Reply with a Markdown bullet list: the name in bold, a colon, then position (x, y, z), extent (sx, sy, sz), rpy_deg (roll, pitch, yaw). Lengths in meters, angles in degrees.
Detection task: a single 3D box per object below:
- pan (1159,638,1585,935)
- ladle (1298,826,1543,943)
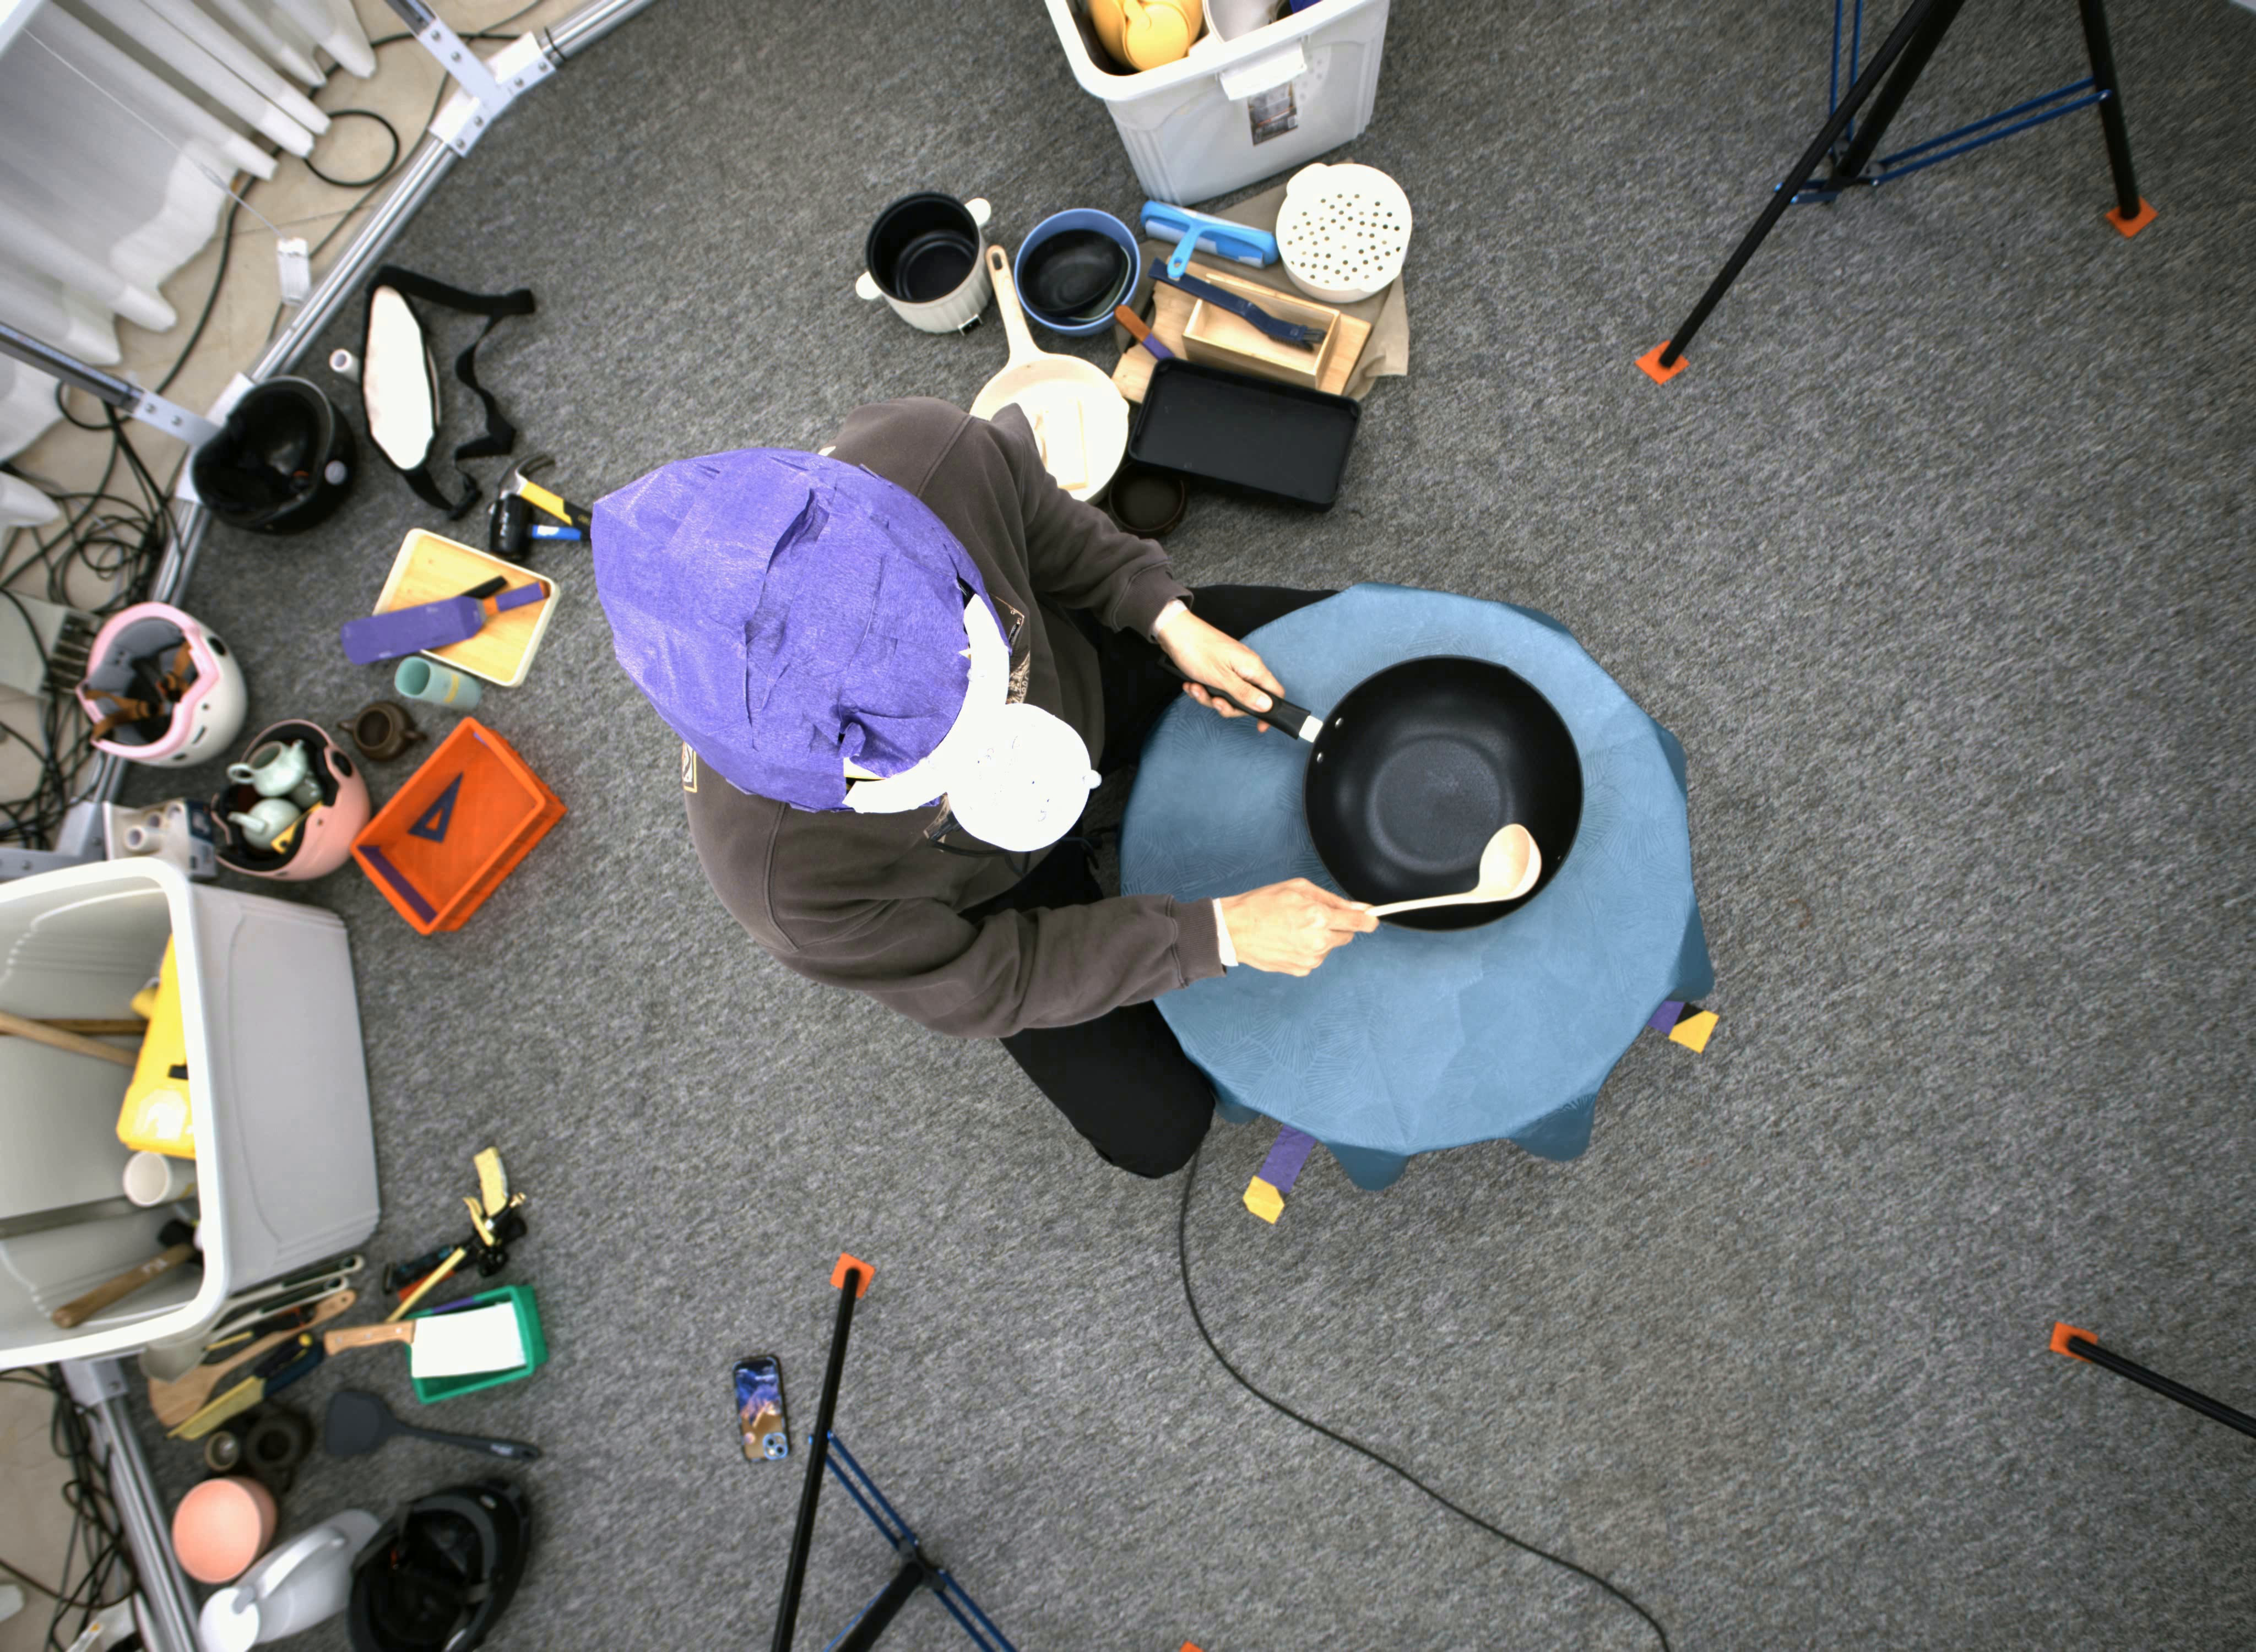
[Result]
- **pan**: position (0.240, -0.072, 1.428), extent (0.462, 0.087, 0.288), rpy_deg (28, 92, 12)
- **ladle**: position (0.279, 0.053, 1.317), extent (0.253, 0.071, 0.074), rpy_deg (-11, 124, -16)
